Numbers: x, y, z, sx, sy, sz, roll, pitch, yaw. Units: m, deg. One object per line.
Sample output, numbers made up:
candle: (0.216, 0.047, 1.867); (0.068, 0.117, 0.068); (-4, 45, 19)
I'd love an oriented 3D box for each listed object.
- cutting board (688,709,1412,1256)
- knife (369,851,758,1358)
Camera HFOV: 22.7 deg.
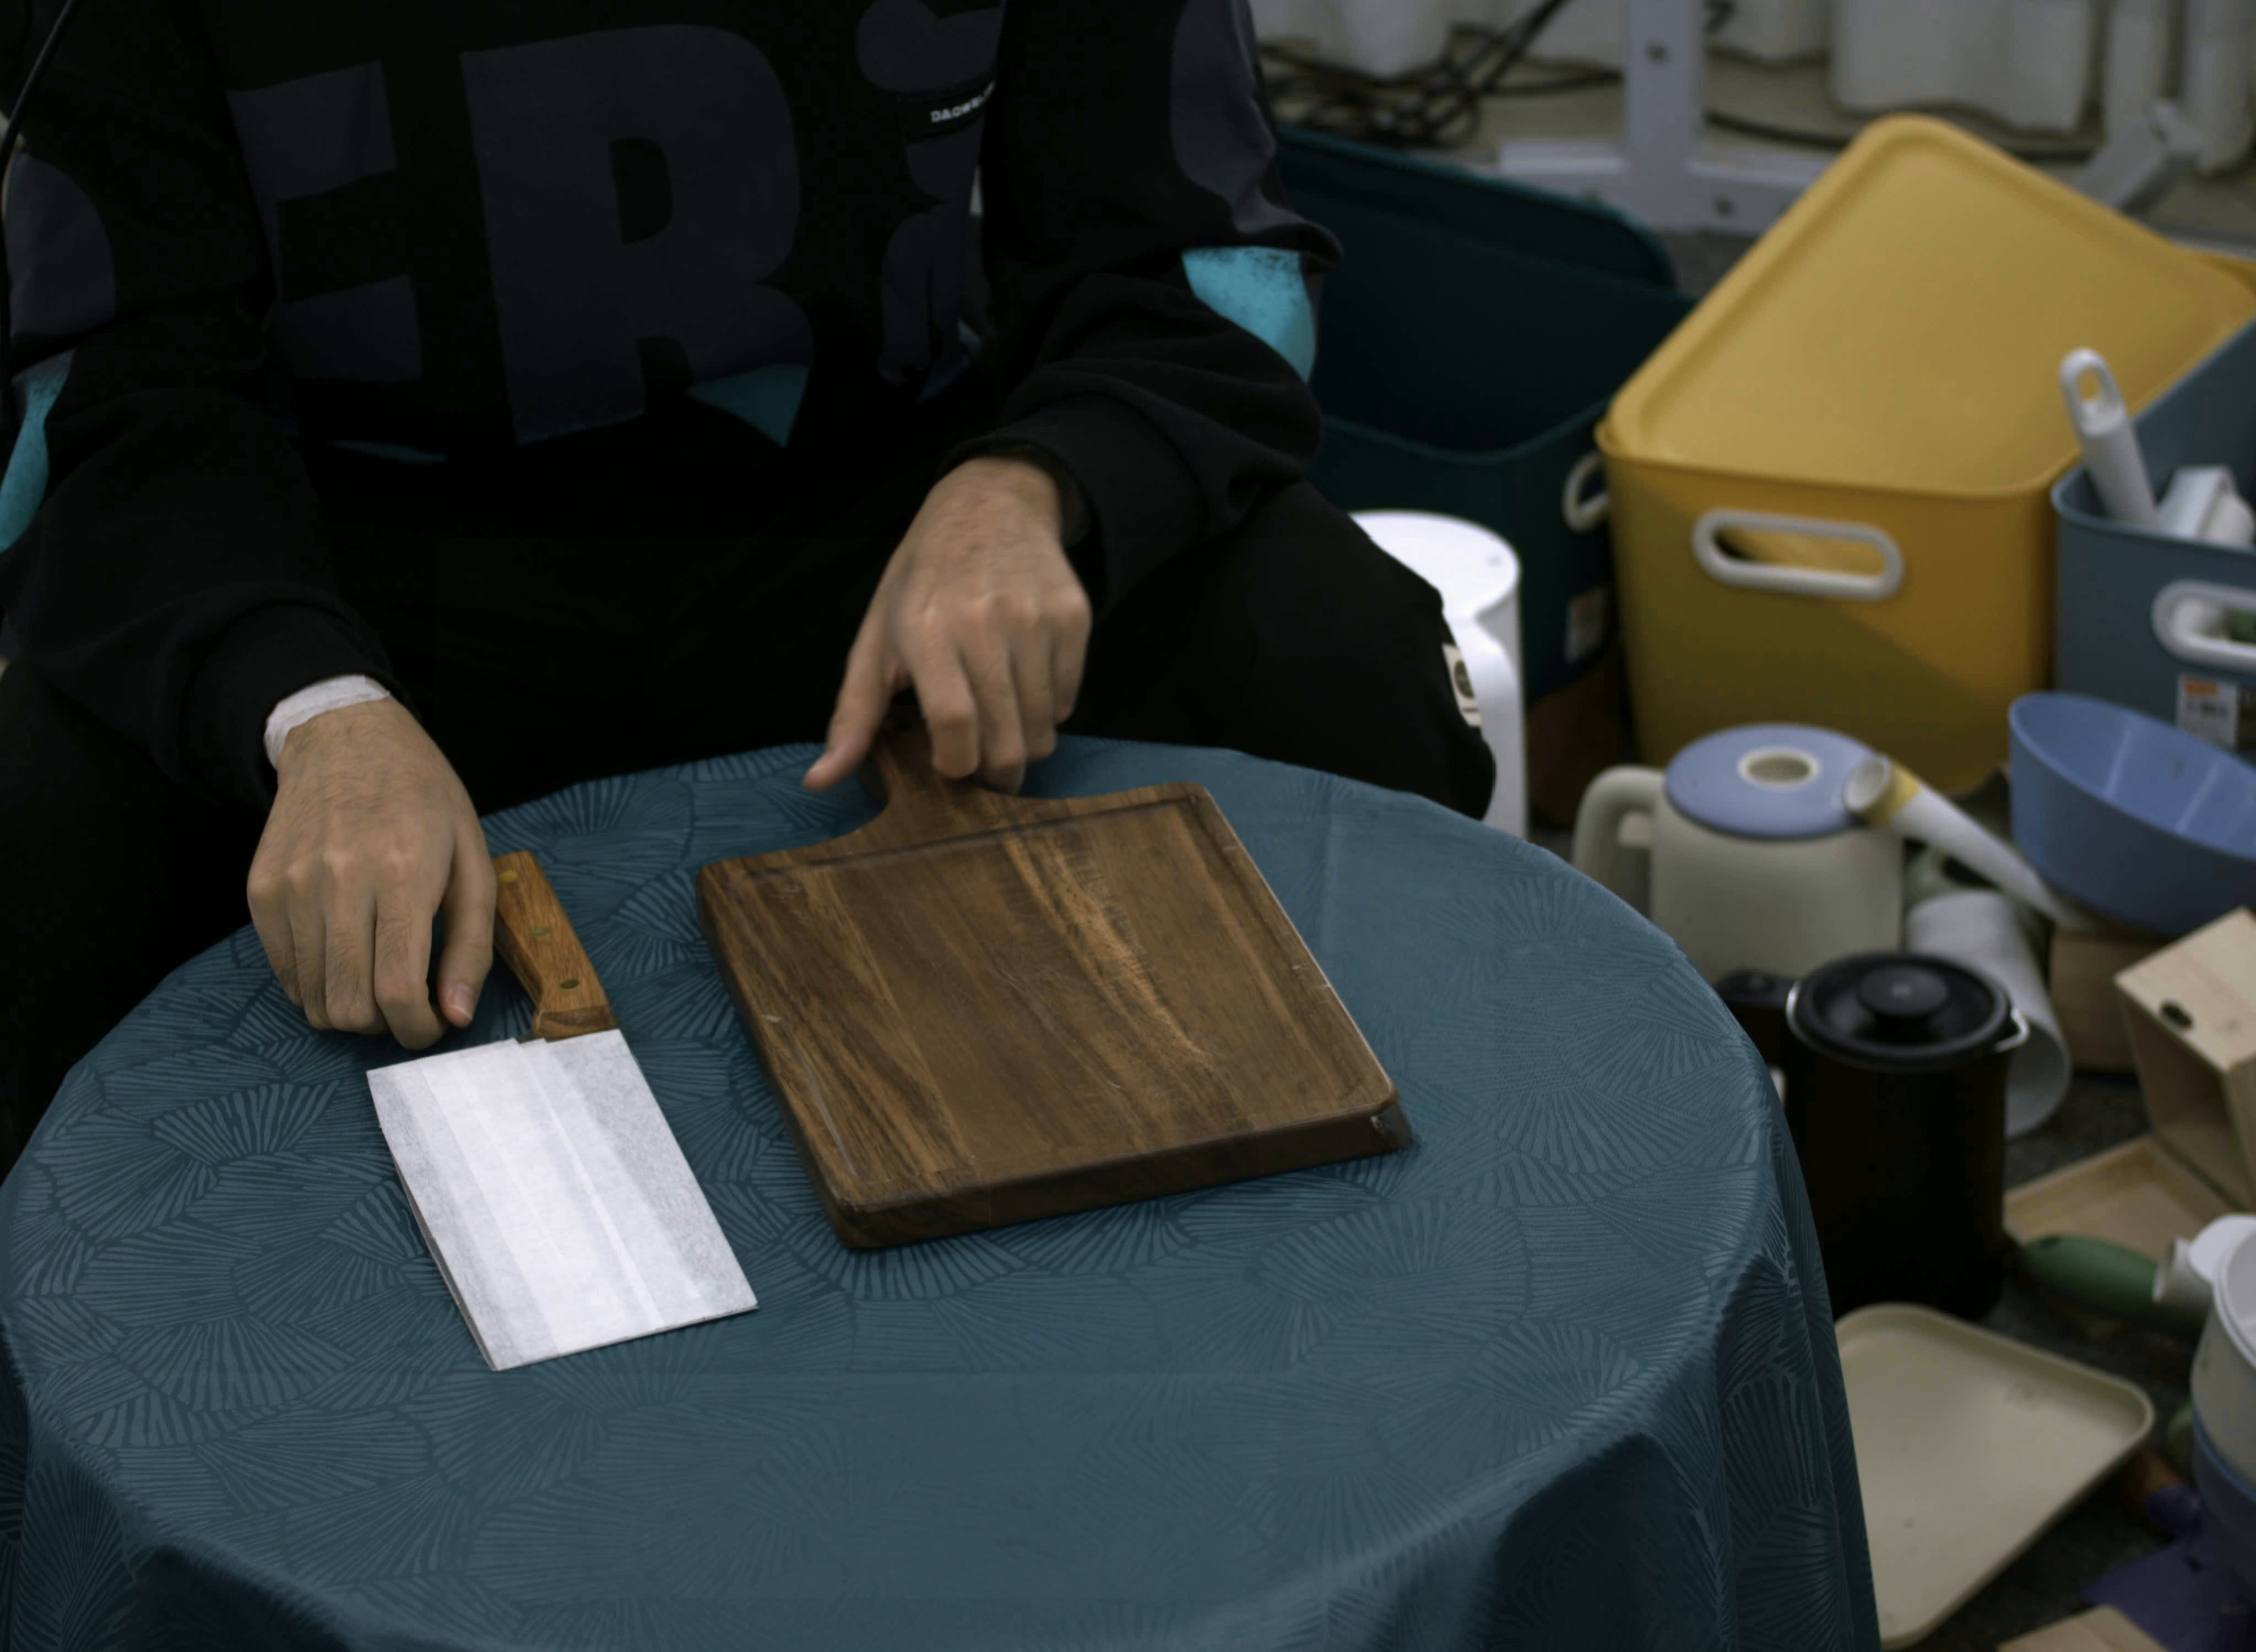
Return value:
cutting board: (-0.045, 0.041, 2.000); (0.201, 0.023, 0.356); (-10, 28, -13)
knife: (-0.208, 0.094, 1.920); (0.093, 0.021, 0.309); (-13, 31, -15)
